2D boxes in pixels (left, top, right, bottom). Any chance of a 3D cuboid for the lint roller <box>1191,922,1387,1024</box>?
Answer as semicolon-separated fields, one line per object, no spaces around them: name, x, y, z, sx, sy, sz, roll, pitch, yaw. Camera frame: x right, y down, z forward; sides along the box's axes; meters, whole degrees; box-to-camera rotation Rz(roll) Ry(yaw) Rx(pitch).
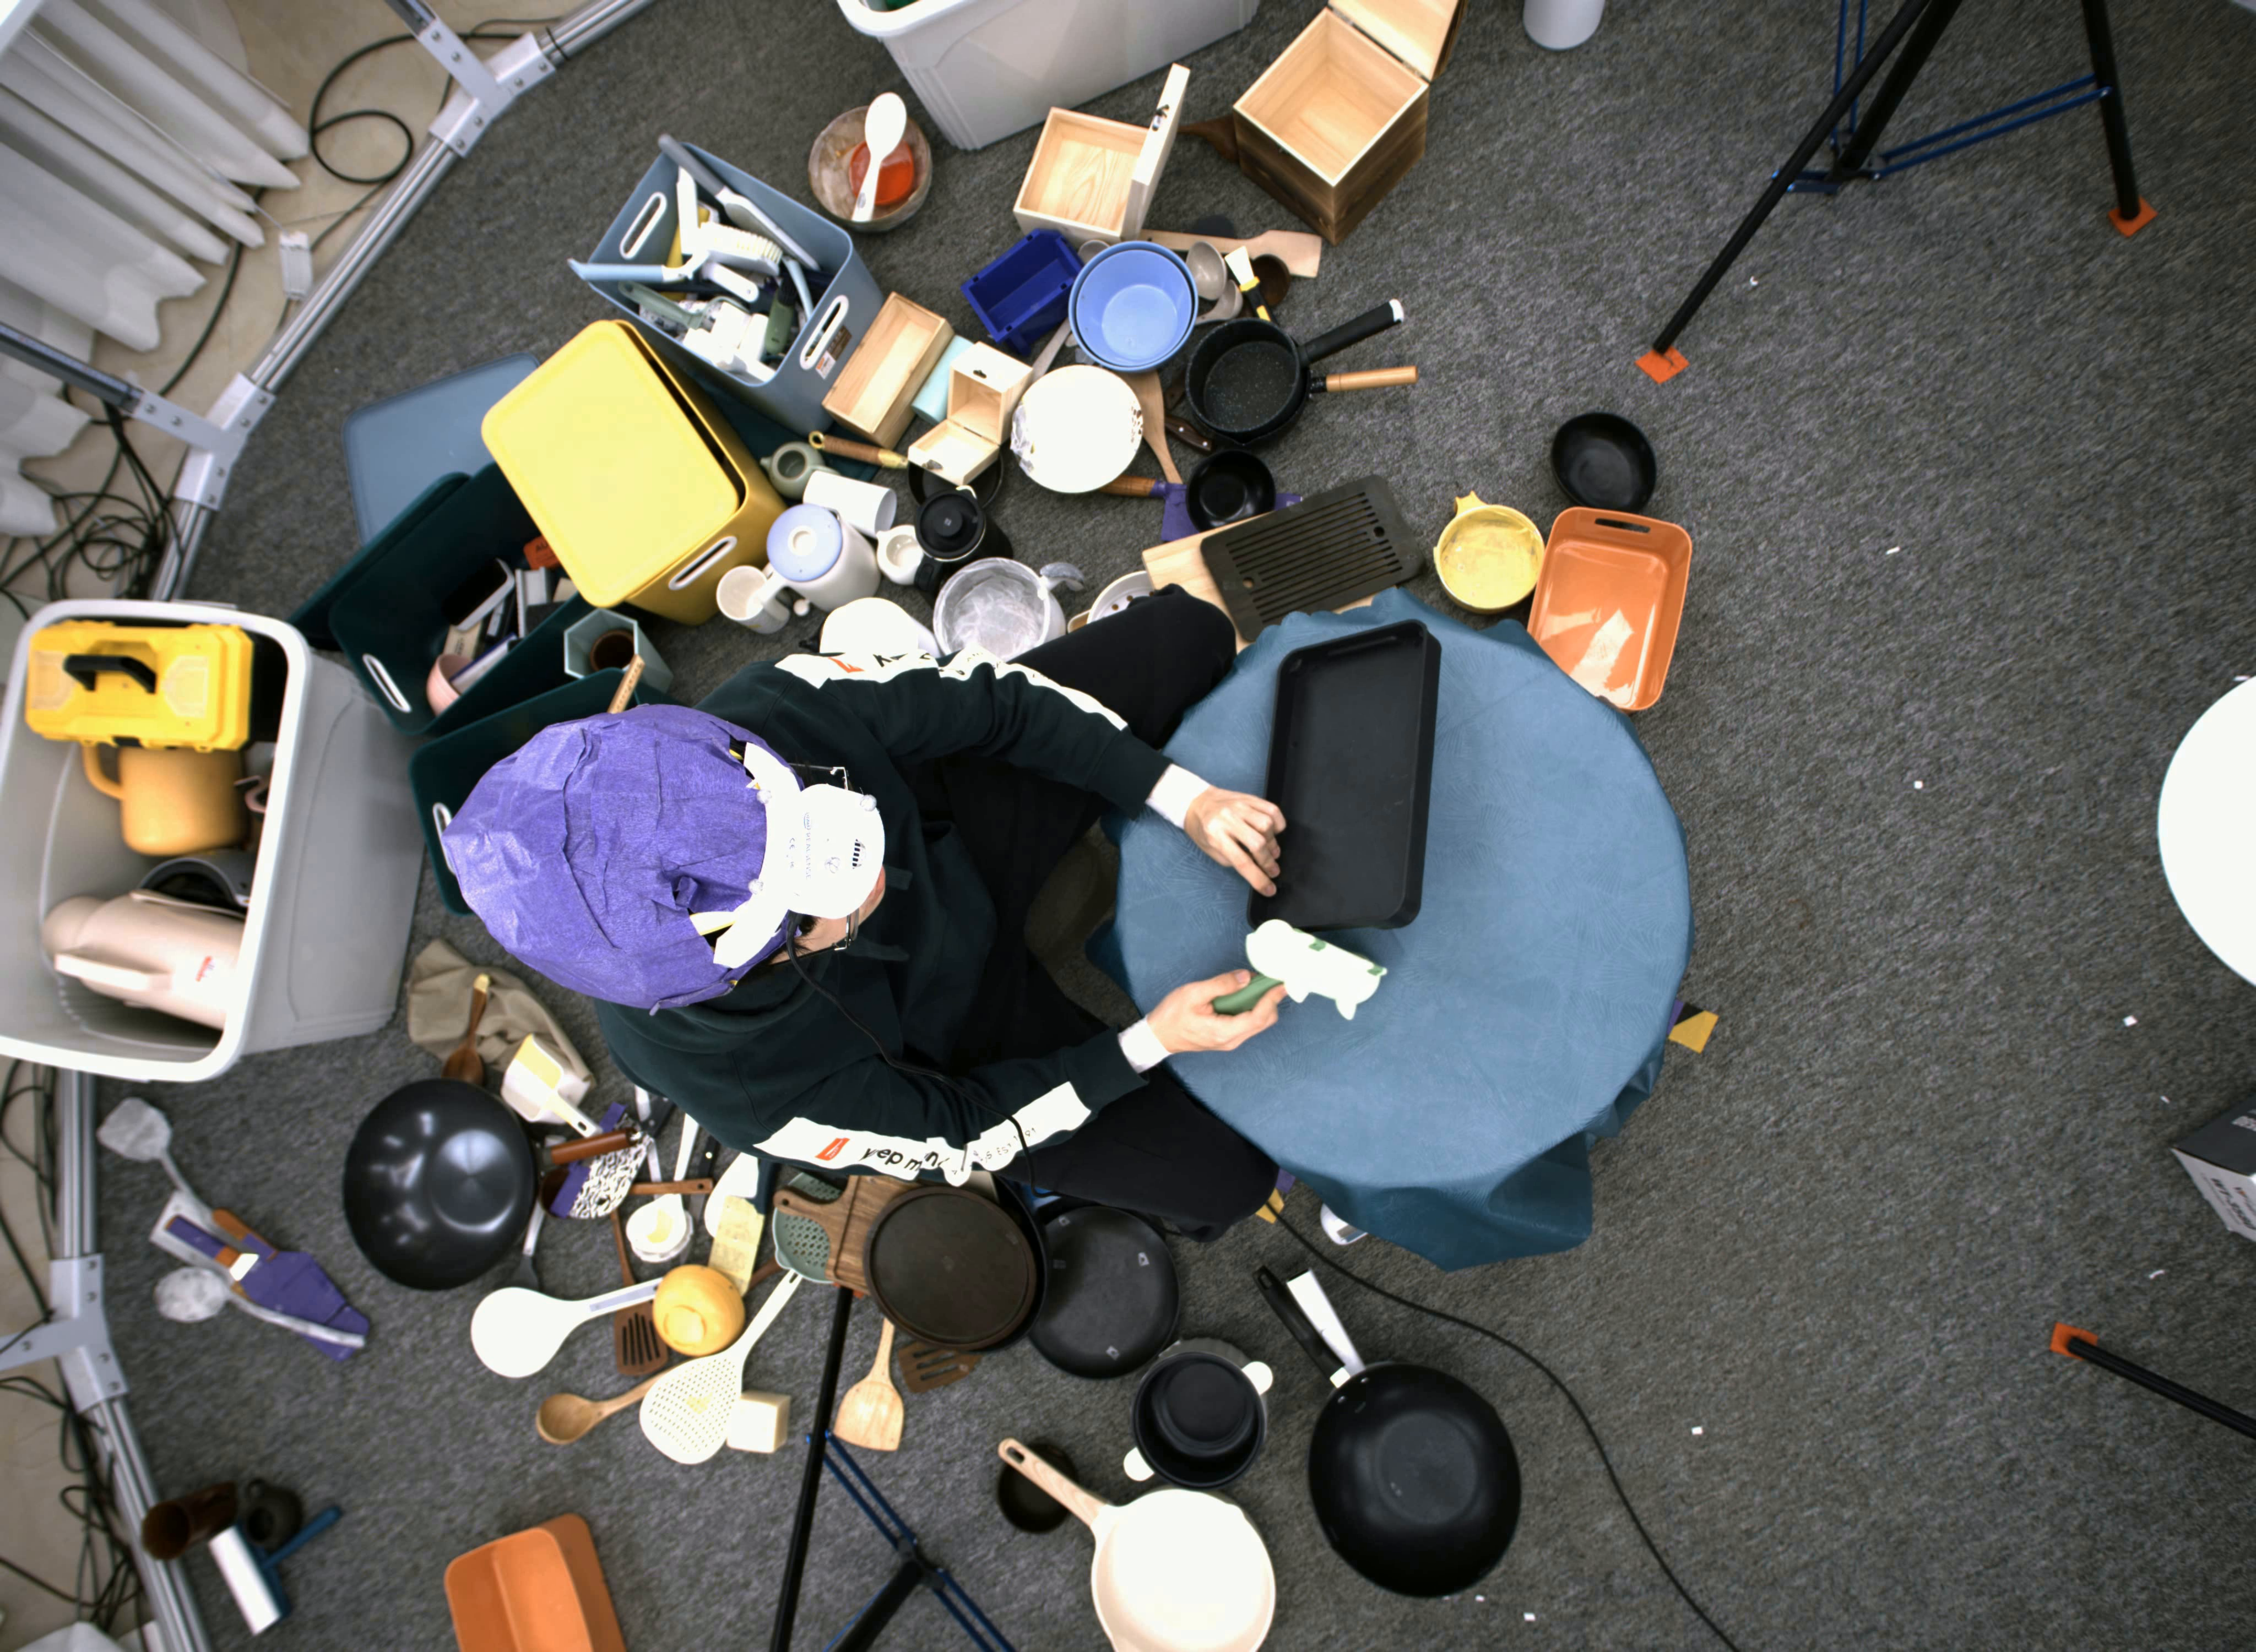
lint roller;0.147;0.171;1.383;0.186;0.199;0.081;-35;60;21

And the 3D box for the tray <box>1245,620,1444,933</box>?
tray;0.216;-0.045;1.370;0.186;0.037;0.313;-7;66;43
